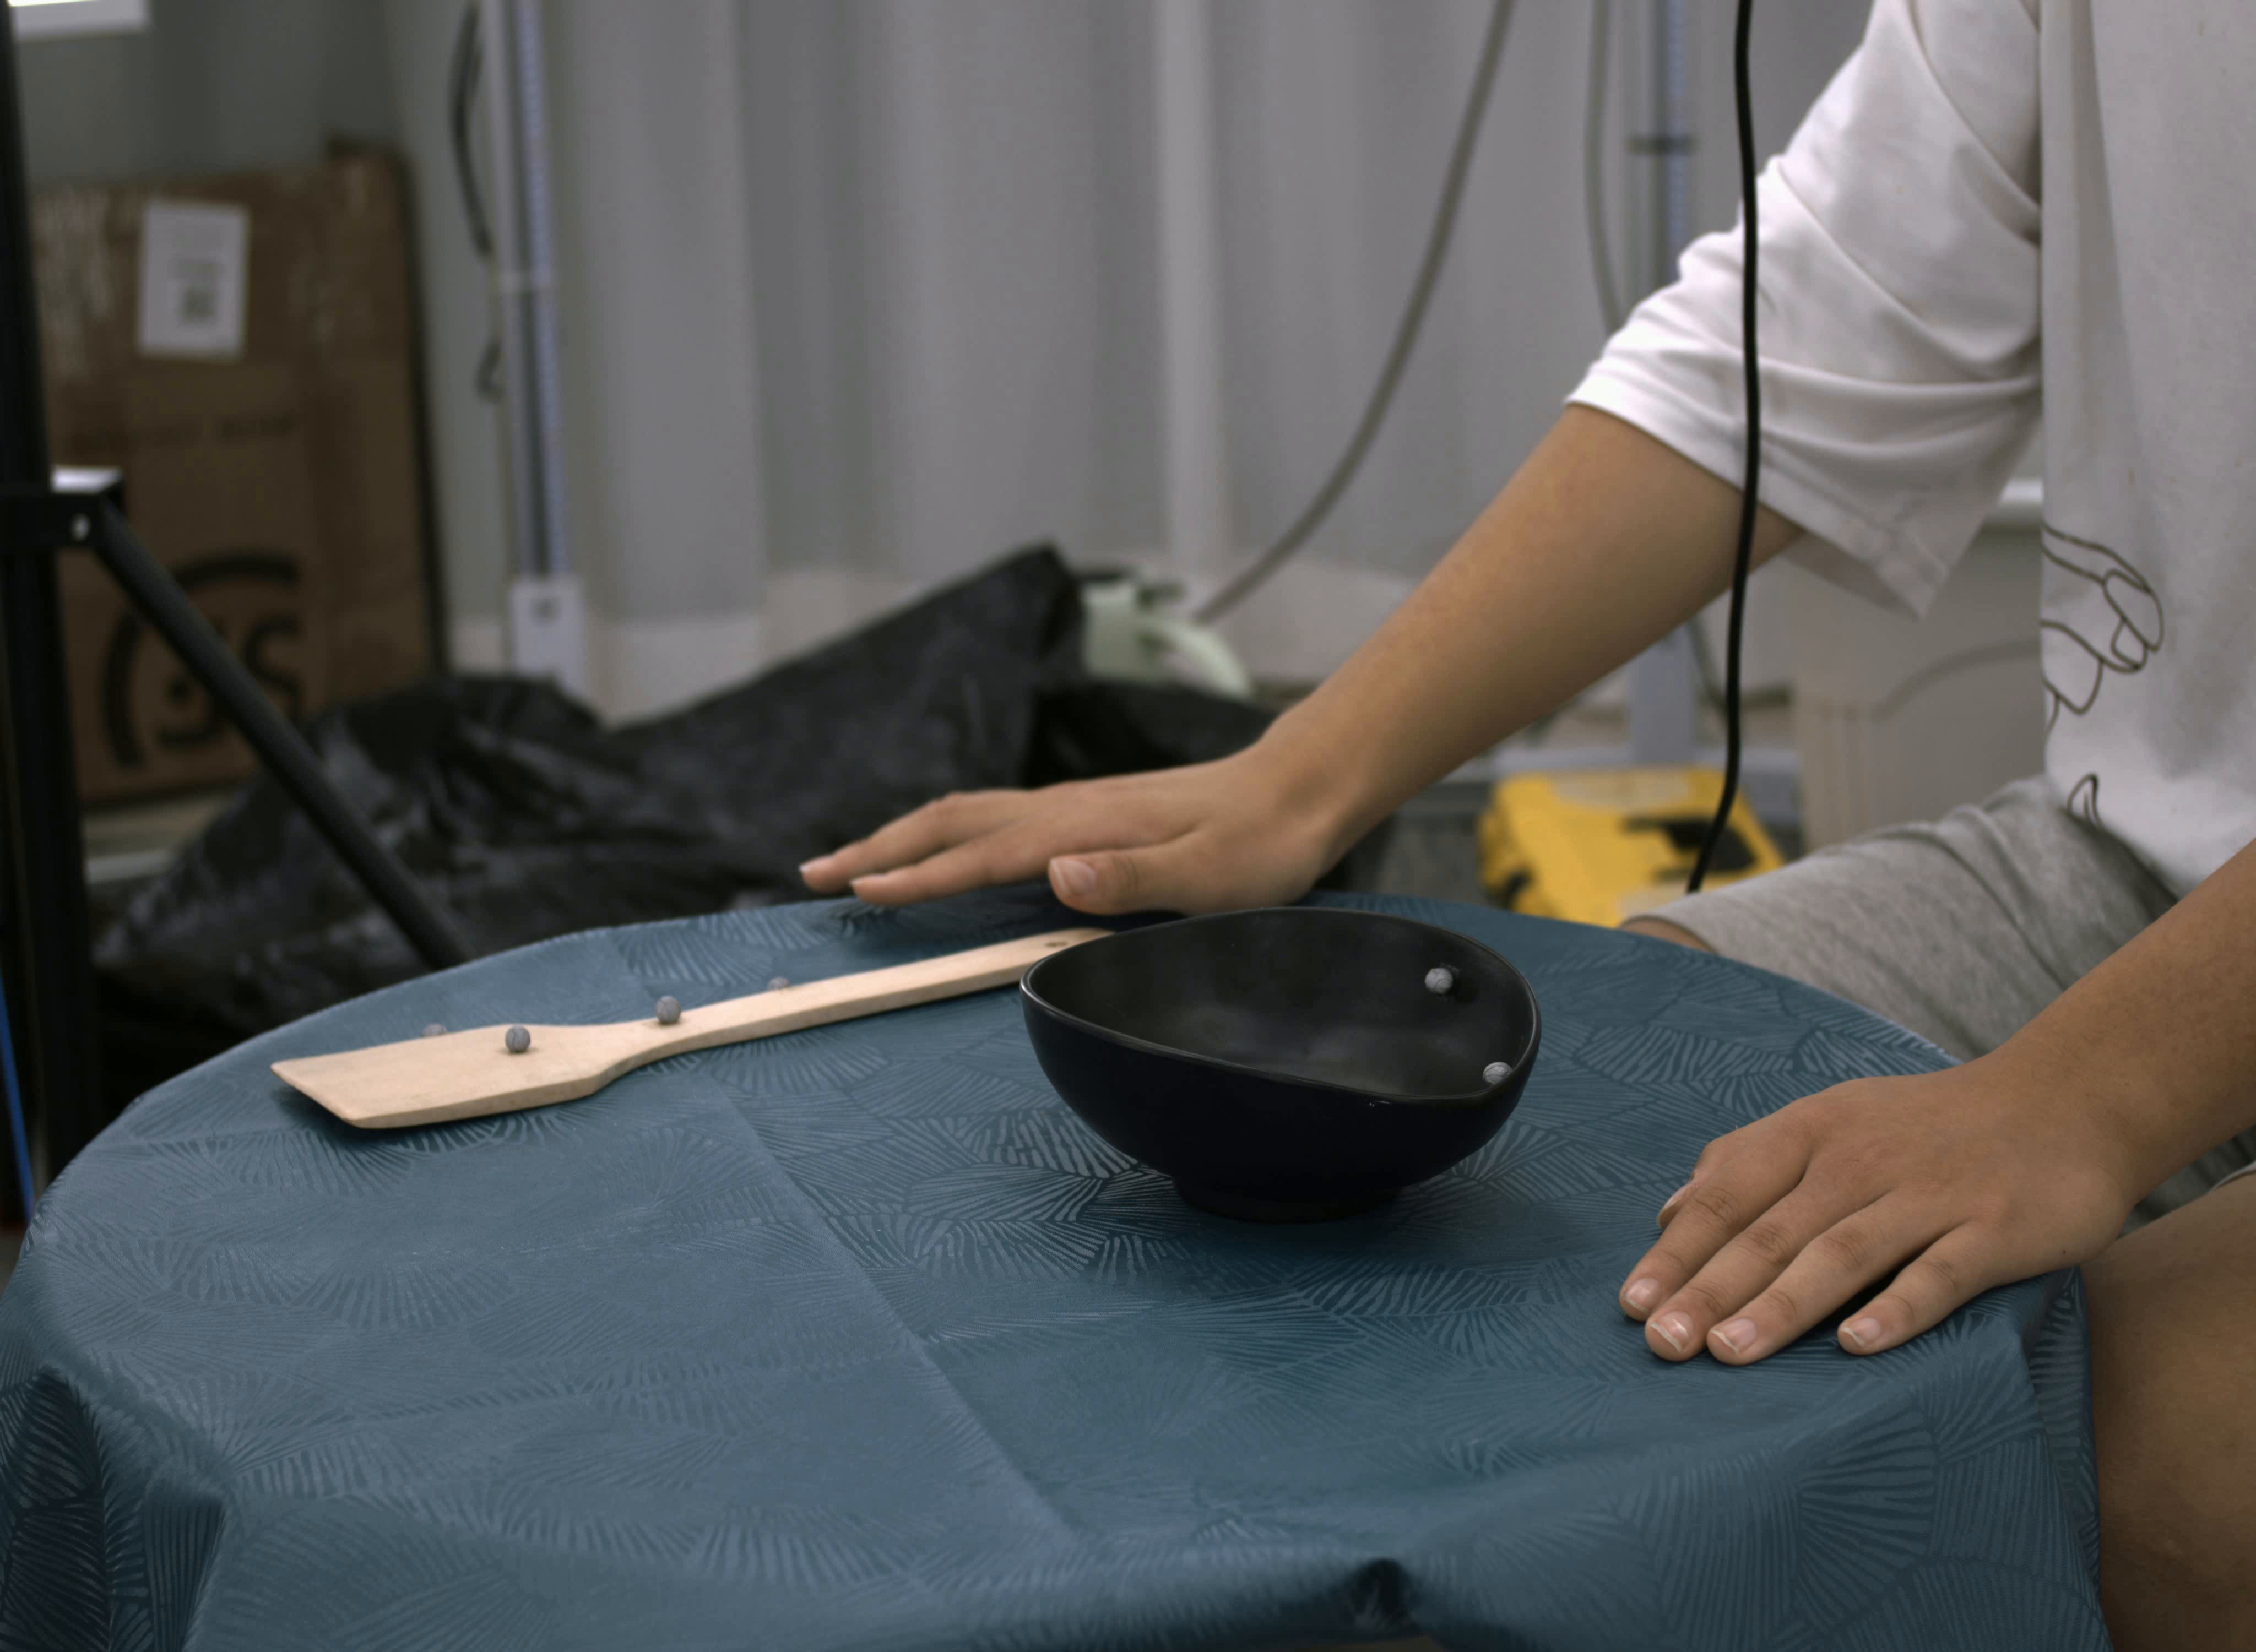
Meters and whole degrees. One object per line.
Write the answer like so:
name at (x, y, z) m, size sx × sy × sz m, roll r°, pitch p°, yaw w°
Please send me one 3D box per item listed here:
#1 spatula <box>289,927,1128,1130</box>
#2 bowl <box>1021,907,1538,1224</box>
spatula at (-0.125, 0.062, 1.723) m, size 0.287 × 0.010 × 0.074 m, roll -11°, pitch 17°, yaw -27°
bowl at (0.045, 0.074, 1.554) m, size 0.134 × 0.066 × 0.174 m, roll -16°, pitch 23°, yaw -41°
